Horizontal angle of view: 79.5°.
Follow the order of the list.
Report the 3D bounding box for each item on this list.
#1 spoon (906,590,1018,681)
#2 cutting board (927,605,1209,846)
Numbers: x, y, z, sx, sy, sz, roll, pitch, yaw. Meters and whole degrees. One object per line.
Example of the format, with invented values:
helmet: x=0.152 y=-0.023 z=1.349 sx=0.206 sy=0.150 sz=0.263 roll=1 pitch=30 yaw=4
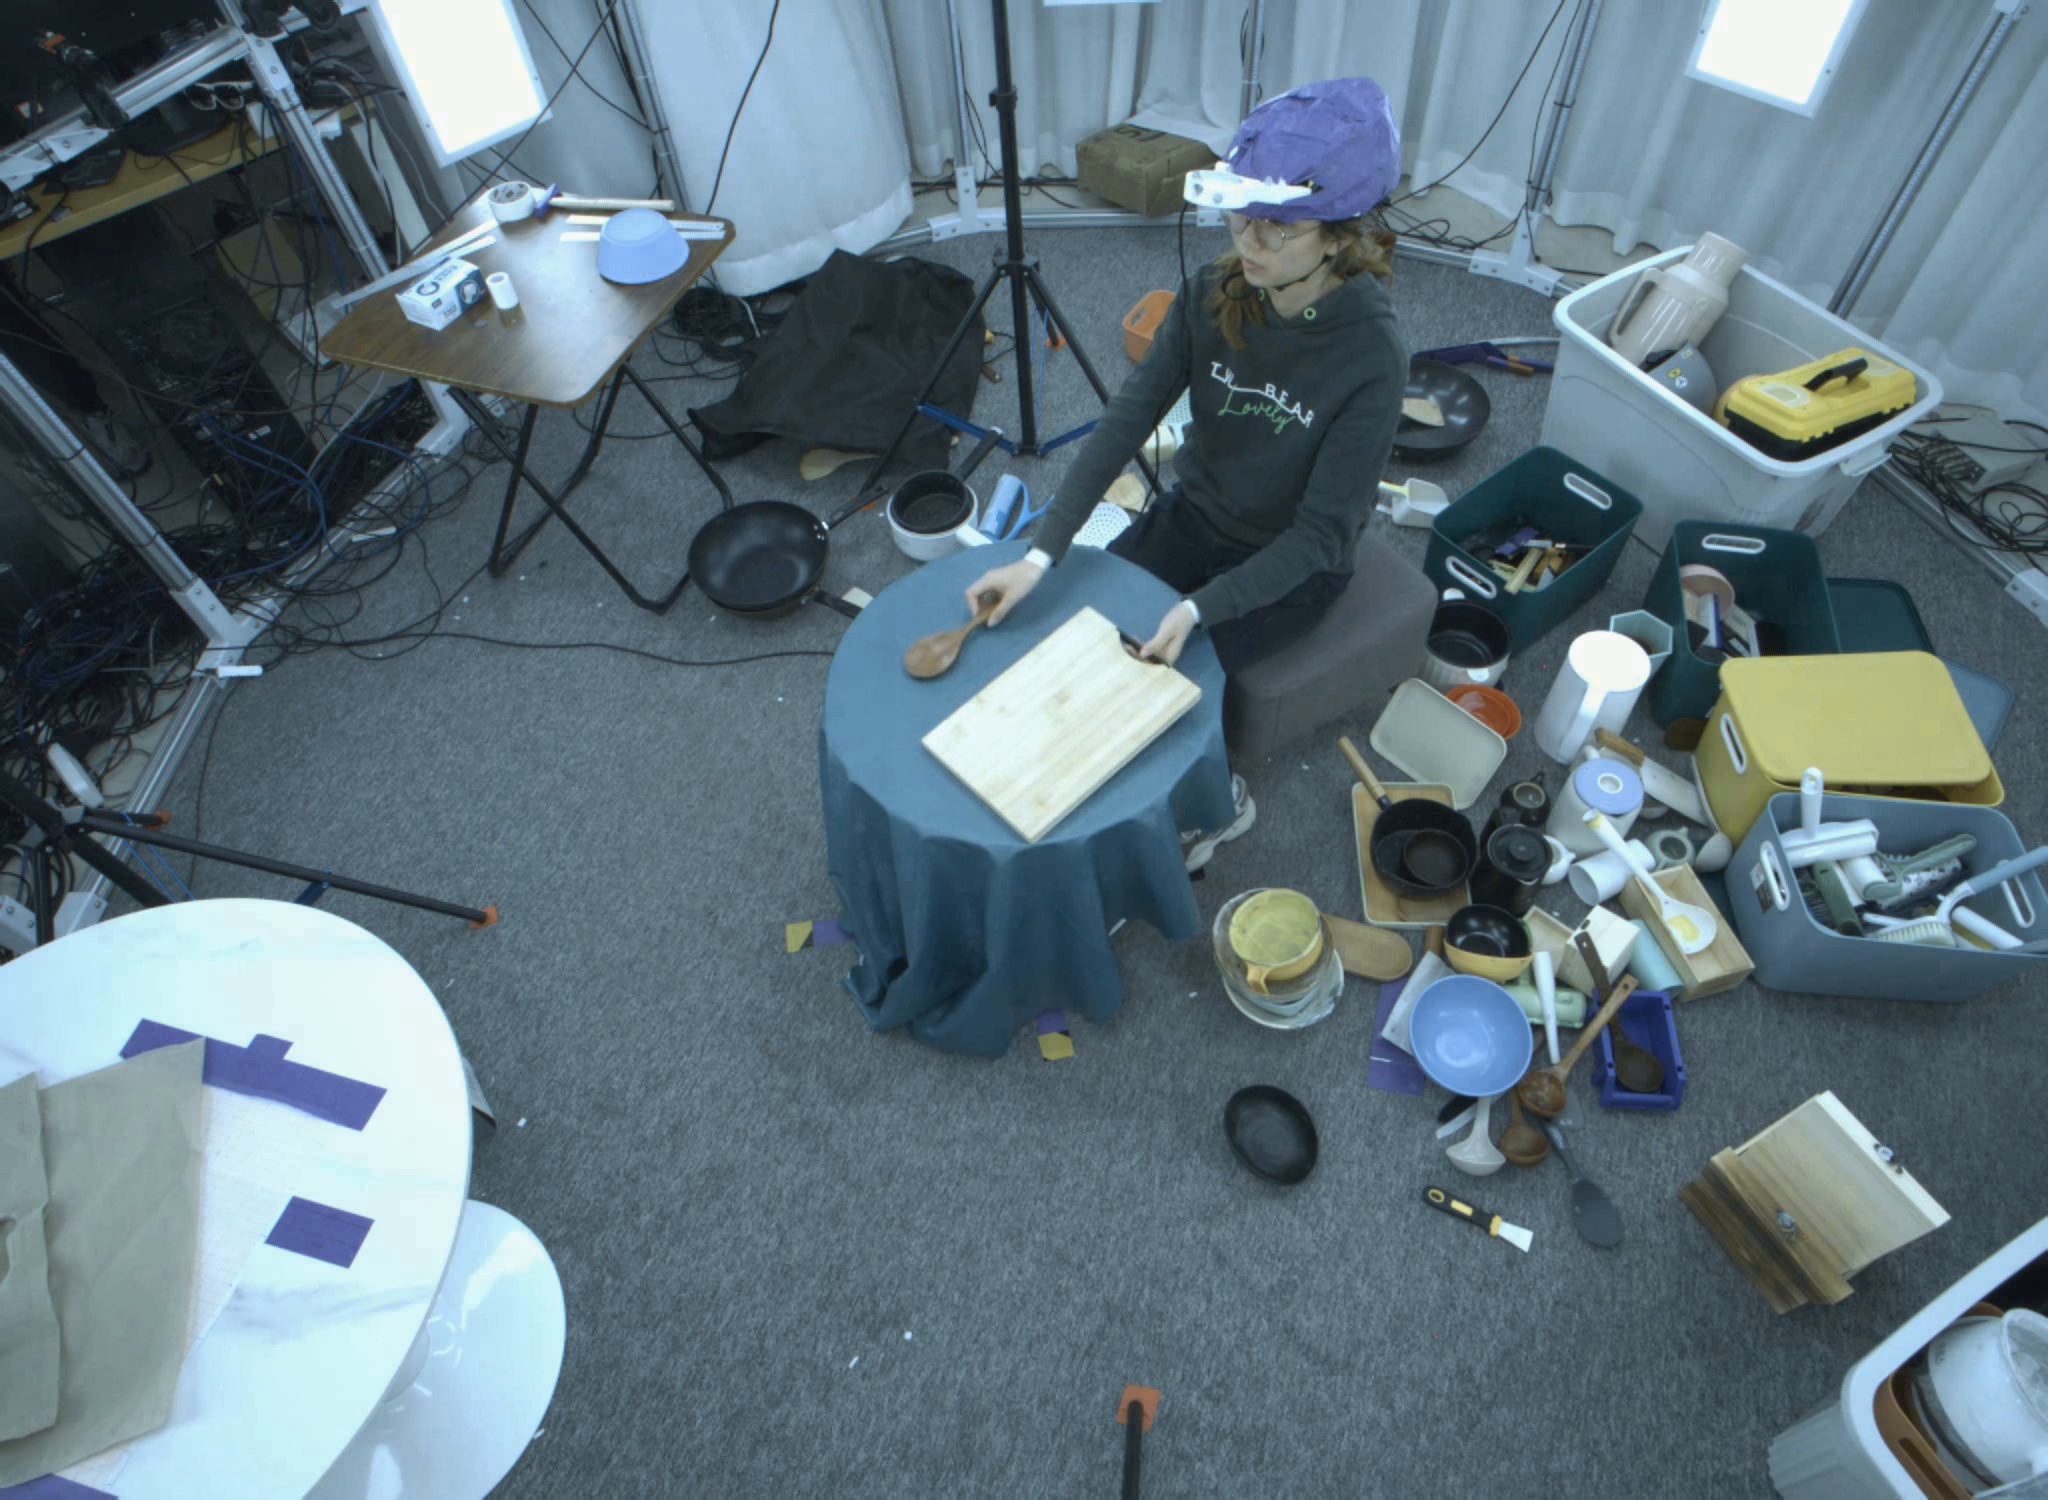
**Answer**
spoon: x=-0.093 y=-0.179 z=1.906 sx=0.217 sy=0.017 sz=0.074 roll=-41 pitch=61 yaw=-17
cutting board: x=0.062 y=-0.045 z=1.799 sx=0.350 sy=0.024 sz=0.246 roll=-41 pitch=64 yaw=-18
